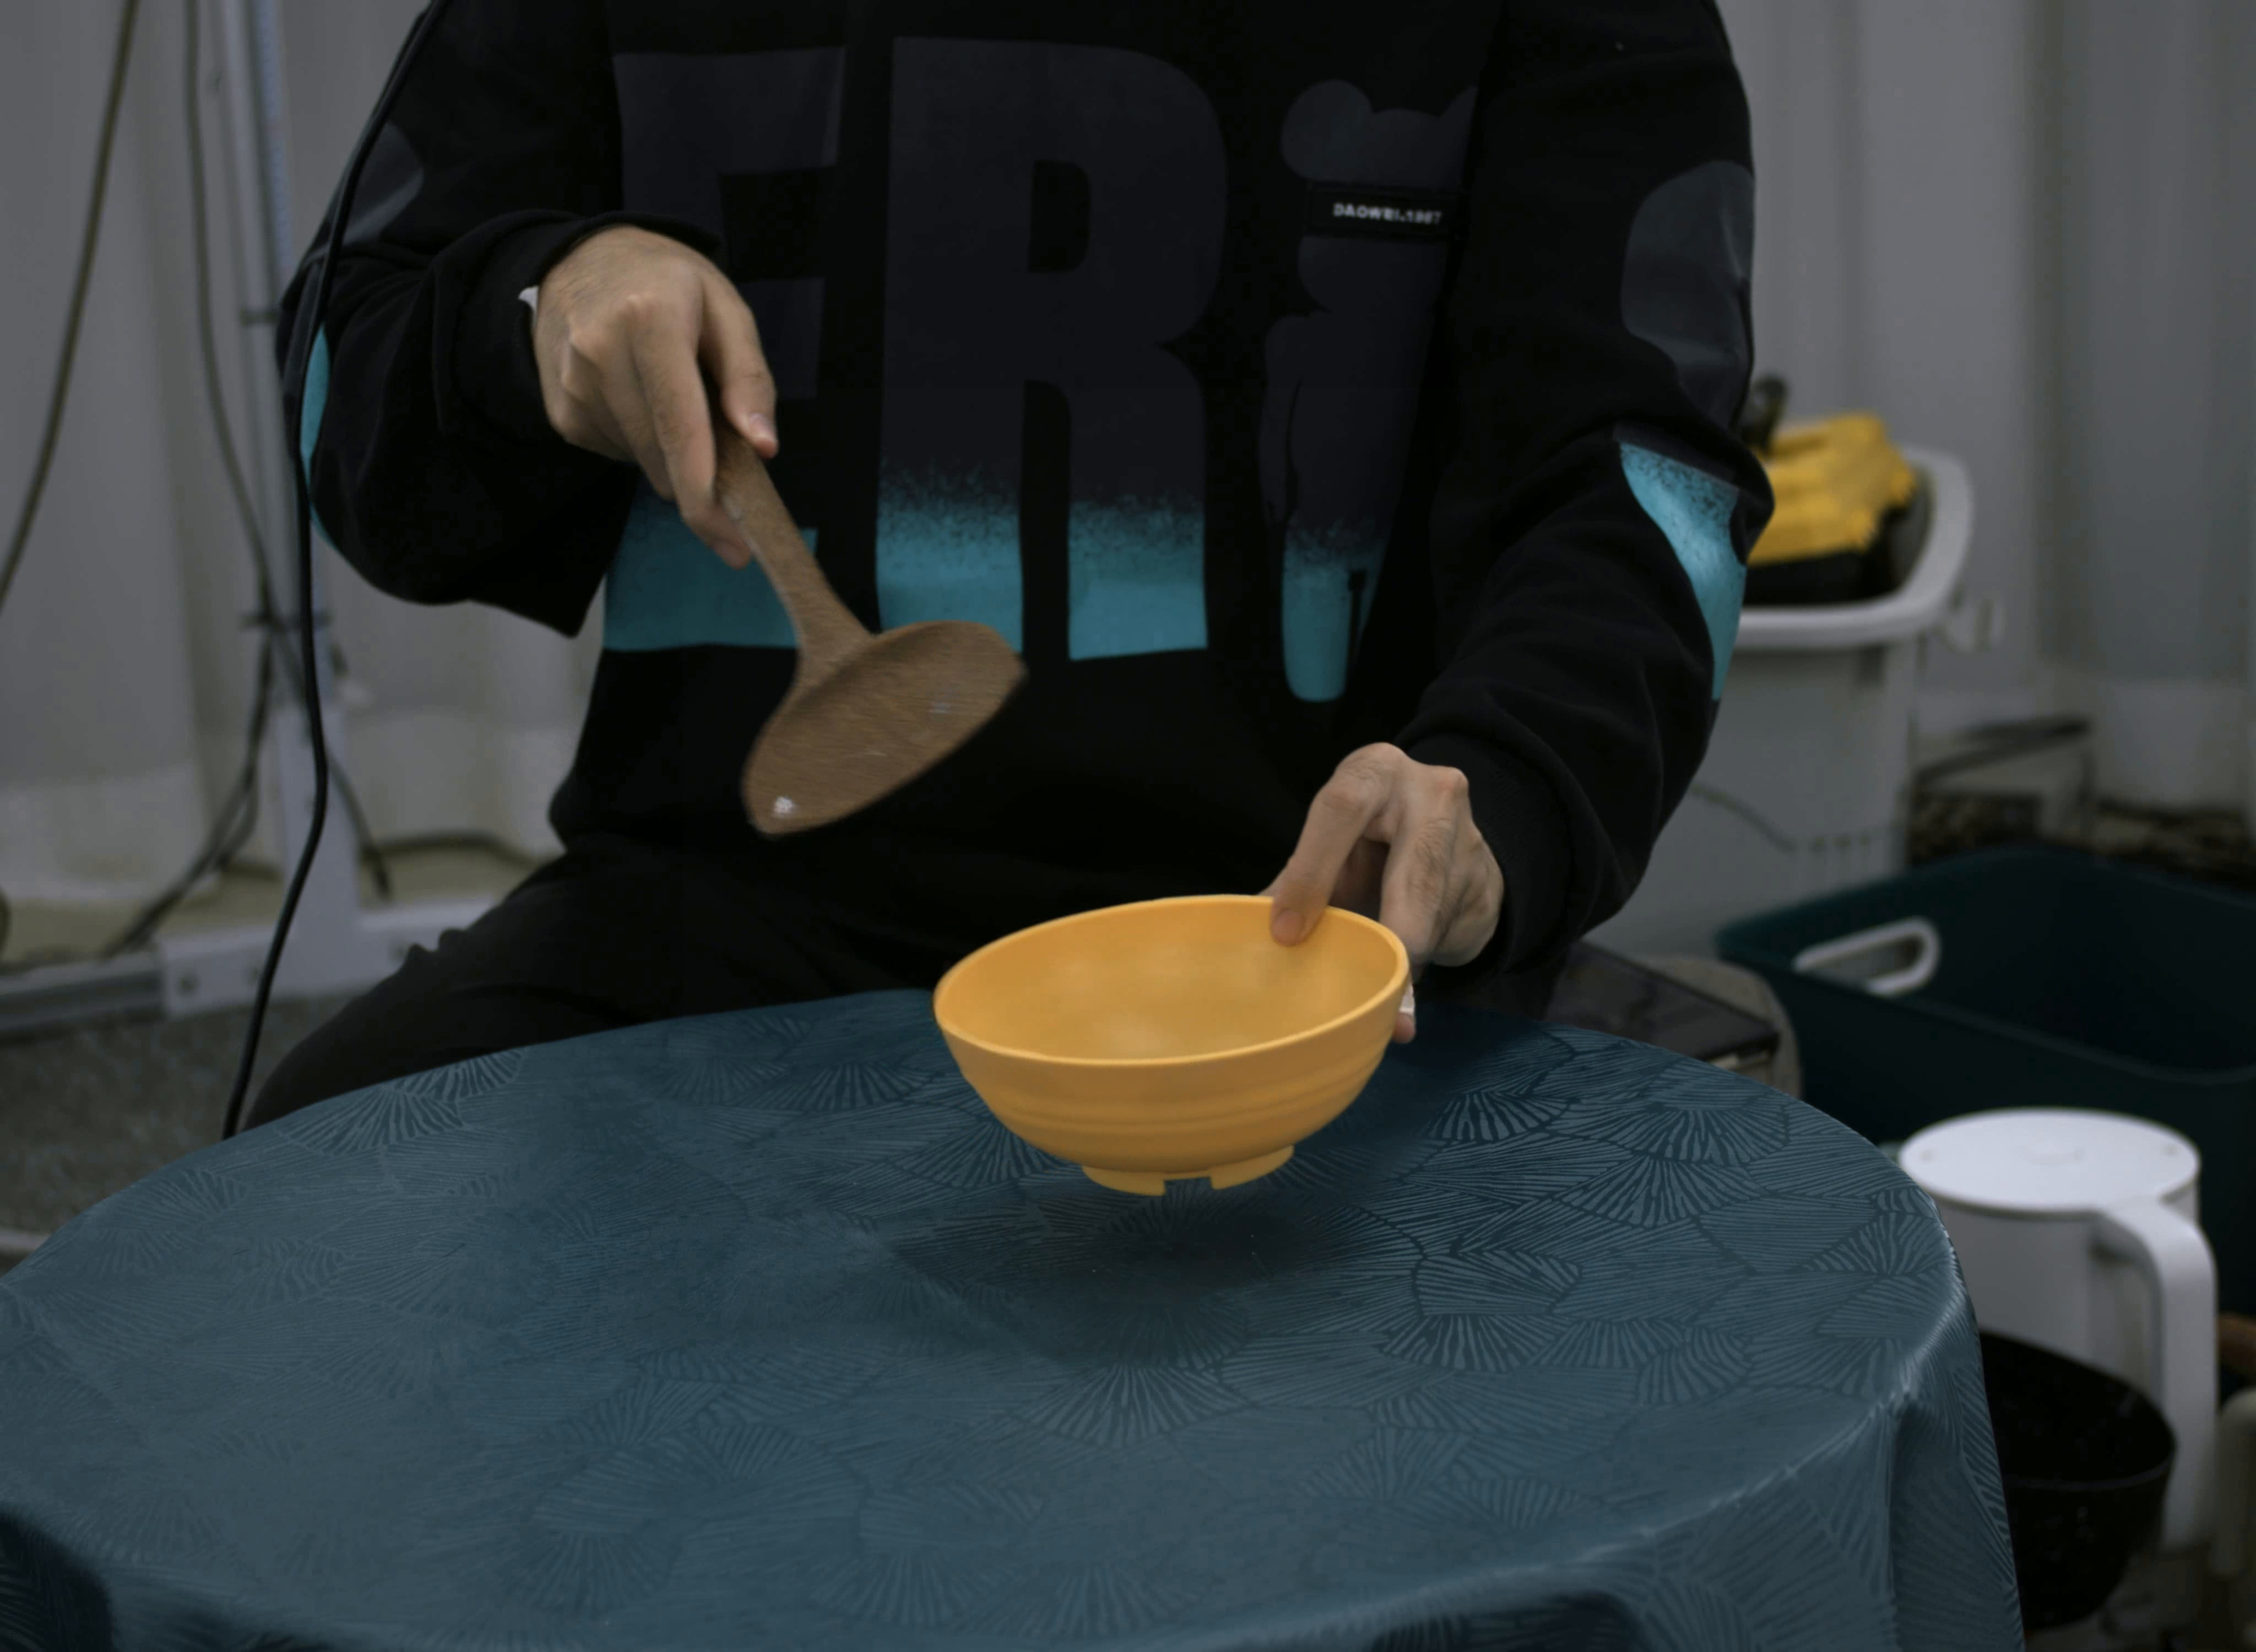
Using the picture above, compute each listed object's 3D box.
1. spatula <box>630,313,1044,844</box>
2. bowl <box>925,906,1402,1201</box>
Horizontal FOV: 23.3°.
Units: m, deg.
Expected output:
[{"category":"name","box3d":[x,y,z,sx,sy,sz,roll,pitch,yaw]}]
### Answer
[{"category":"spatula","box3d":[-0.113,-0.095,1.787,0.096,0.015,0.391,-34,32,0]},{"category":"bowl","box3d":[0.012,0.074,1.656,0.145,0.060,0.146,-3,16,1]}]
